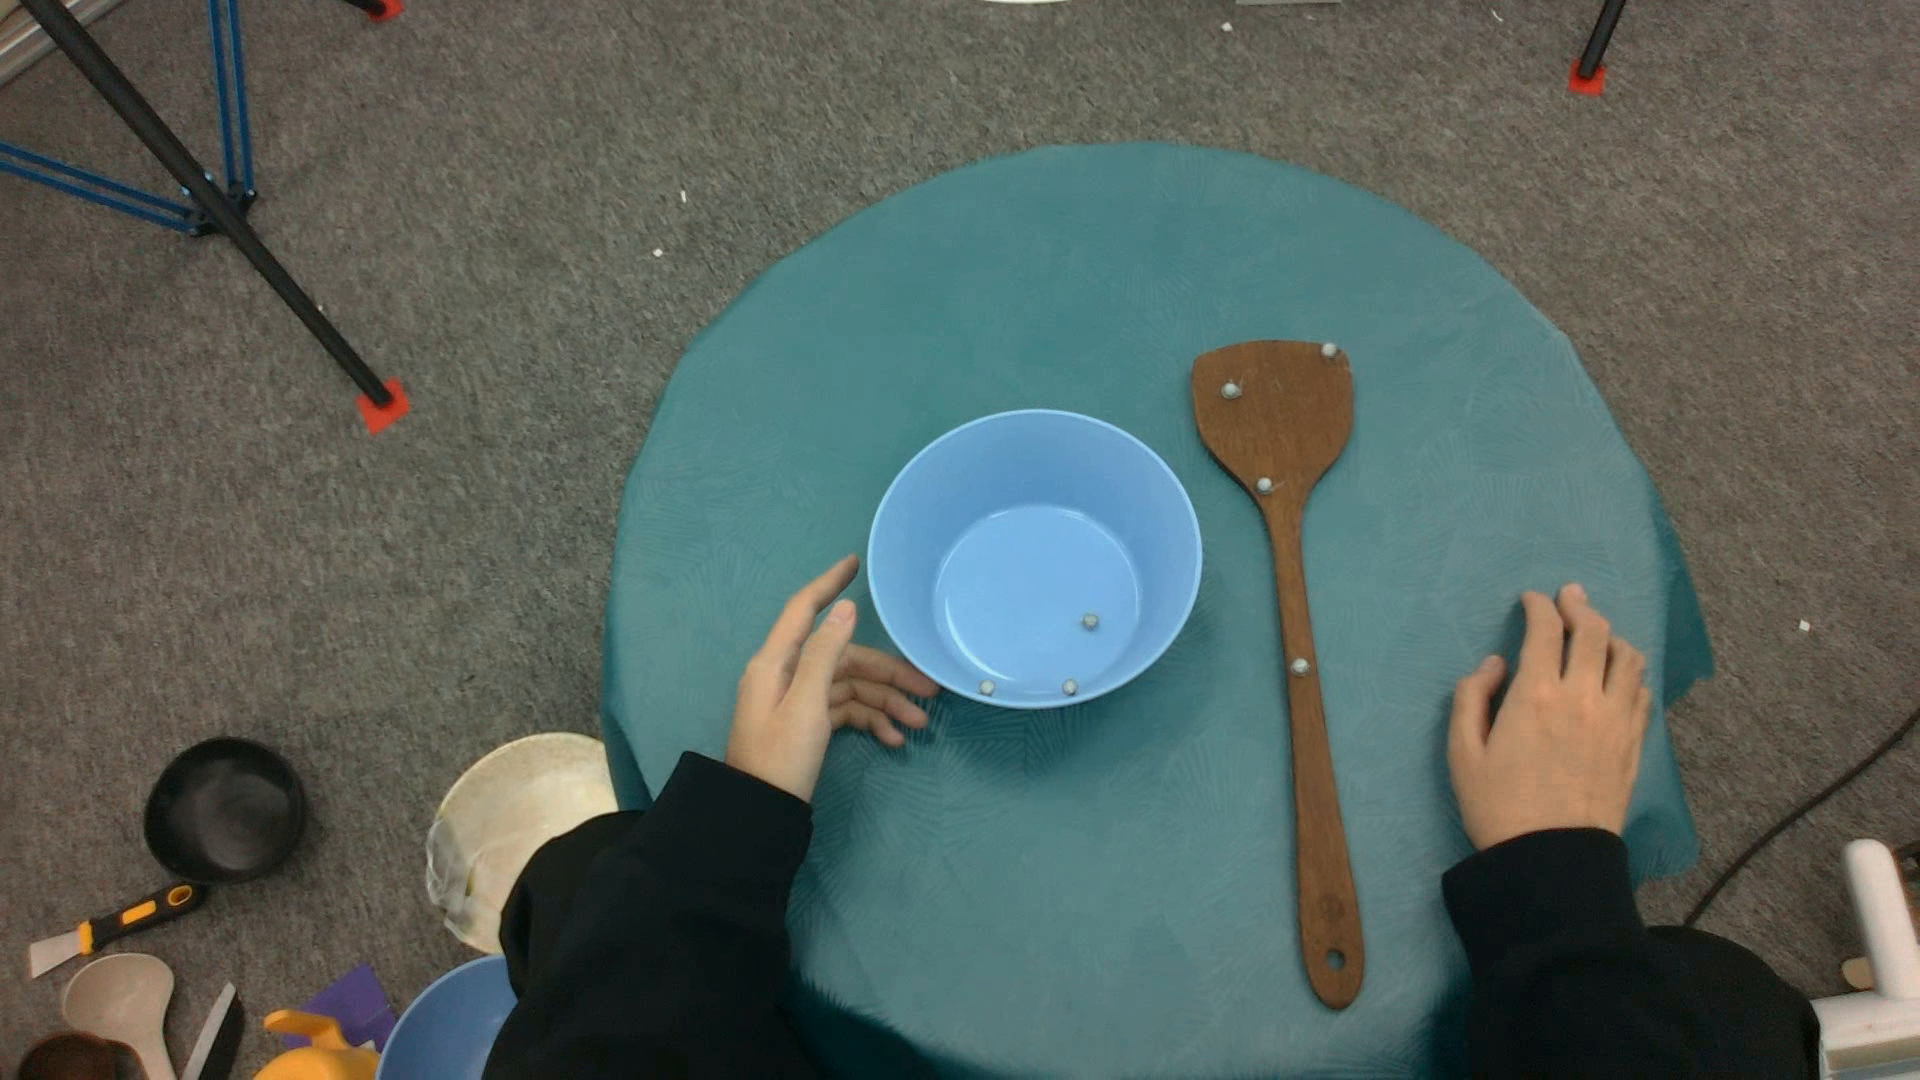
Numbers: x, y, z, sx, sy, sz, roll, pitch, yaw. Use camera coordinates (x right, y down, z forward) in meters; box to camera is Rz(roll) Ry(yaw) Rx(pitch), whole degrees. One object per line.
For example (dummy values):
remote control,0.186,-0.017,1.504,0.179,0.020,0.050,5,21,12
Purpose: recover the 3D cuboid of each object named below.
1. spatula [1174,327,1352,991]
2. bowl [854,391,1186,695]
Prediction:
spatula,0.177,0.045,0.754,0.096,0.016,0.387,-2,63,4
bowl,0.033,0.010,0.751,0.176,0.070,0.176,-2,65,4
